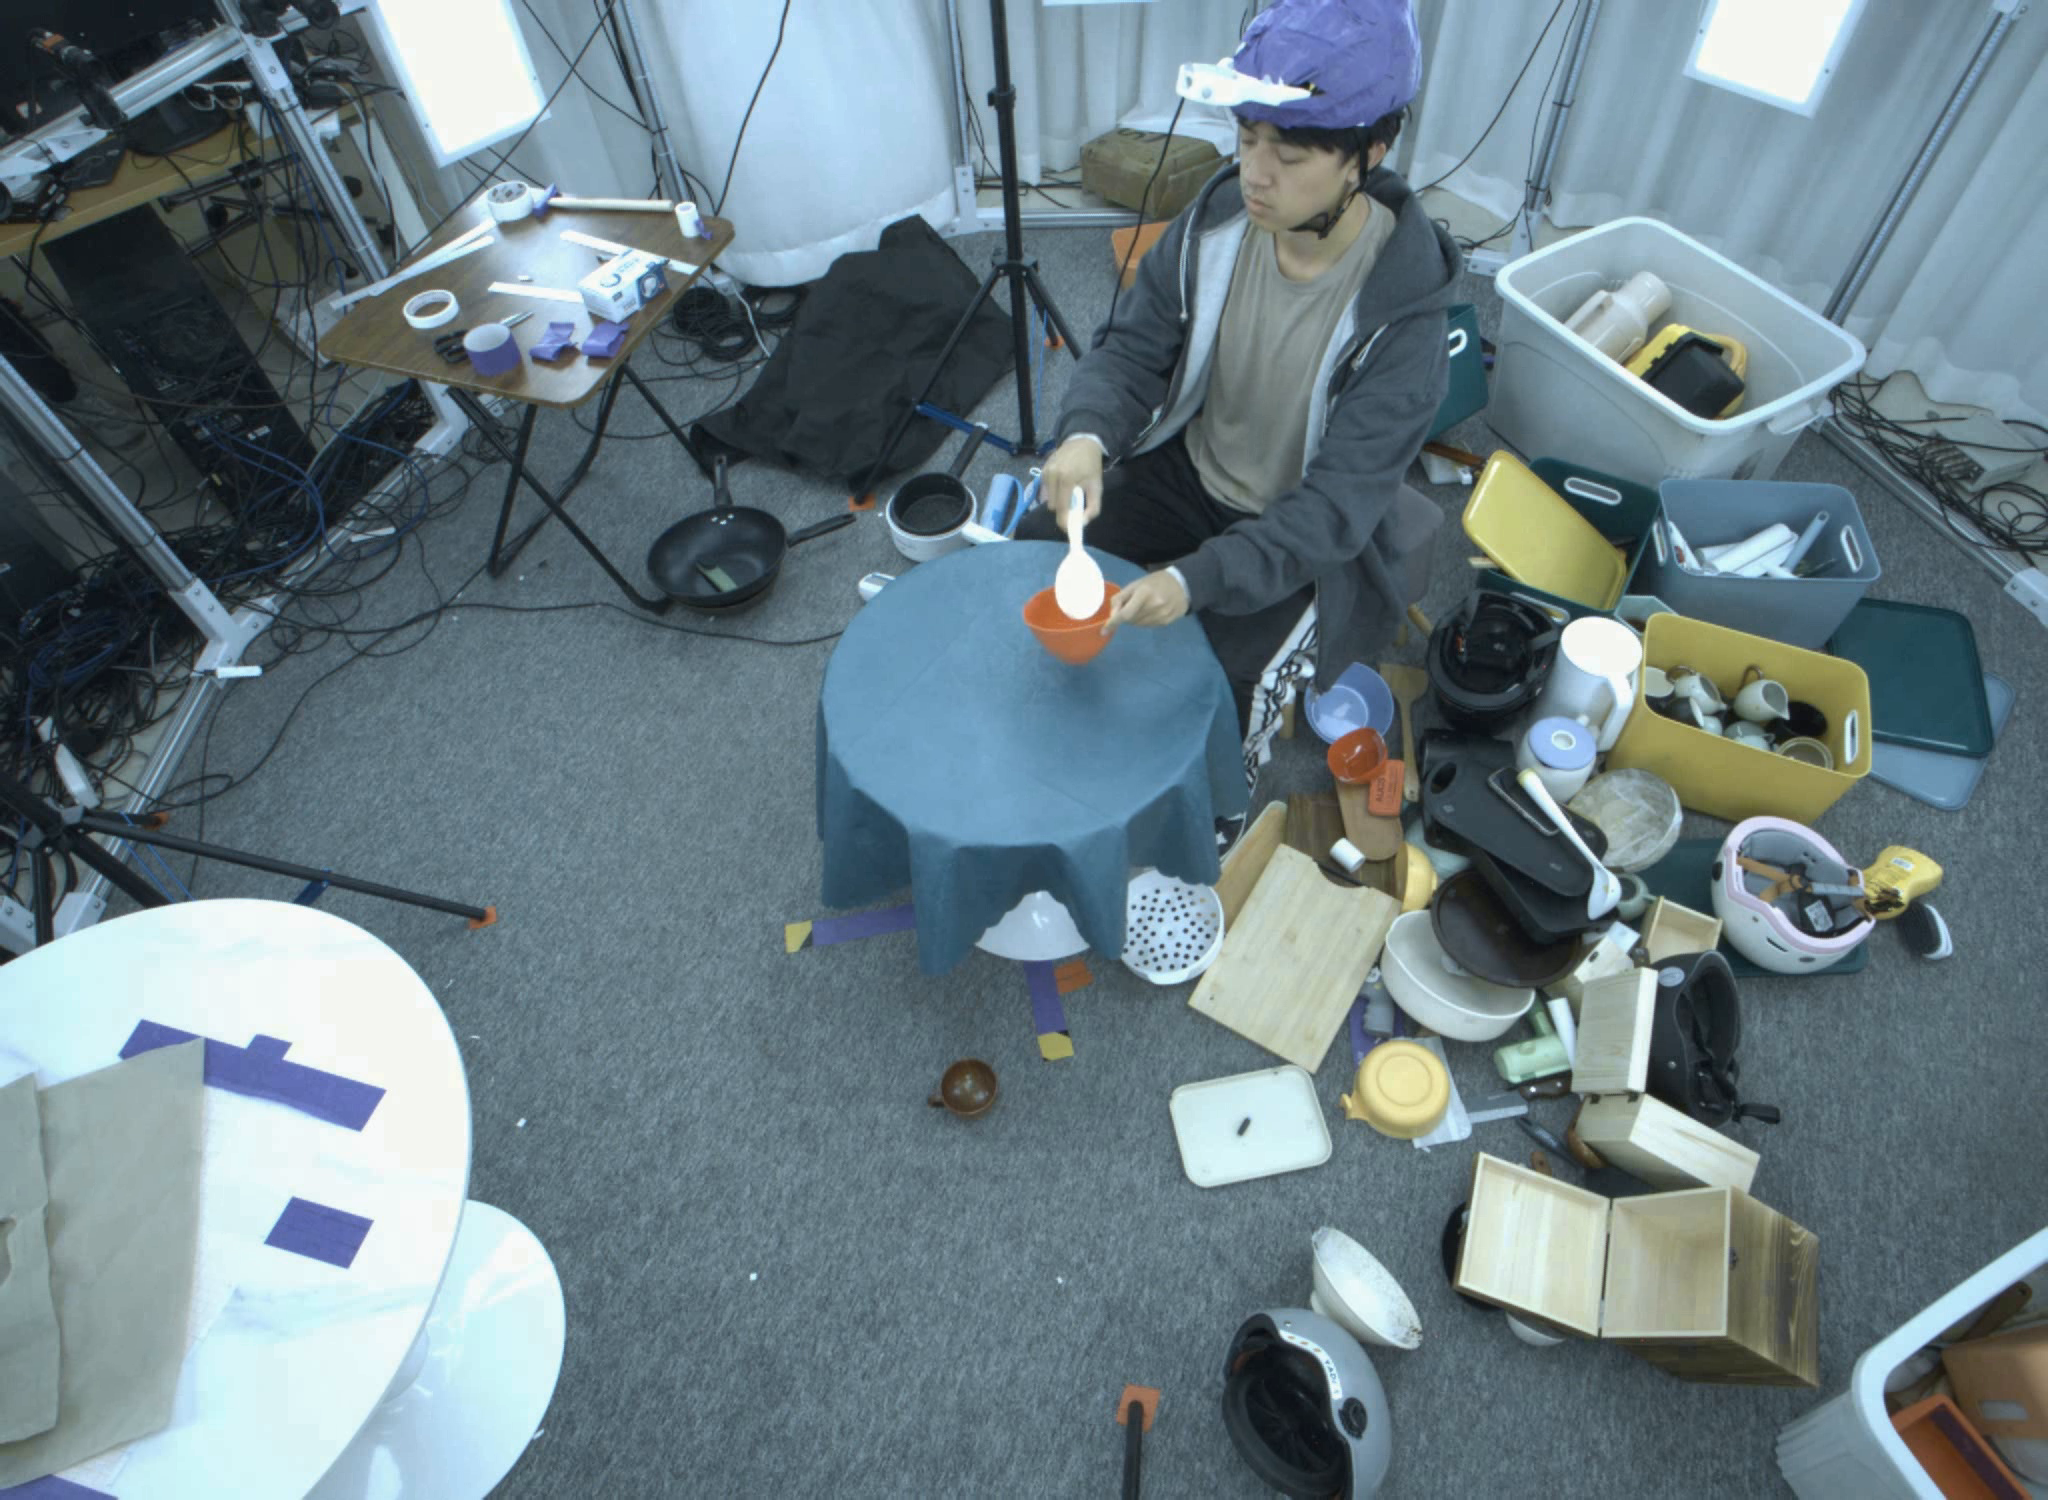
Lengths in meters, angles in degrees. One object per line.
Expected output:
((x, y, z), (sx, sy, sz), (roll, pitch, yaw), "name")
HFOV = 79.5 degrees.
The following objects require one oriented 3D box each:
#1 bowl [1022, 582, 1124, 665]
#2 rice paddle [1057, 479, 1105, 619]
((0.075, -0.176, 1.772), (0.147, 0.106, 0.146), (-5, 43, 6), "bowl")
((0.075, -0.285, 1.743), (0.068, 0.029, 0.204), (-6, 82, 8), "rice paddle")
